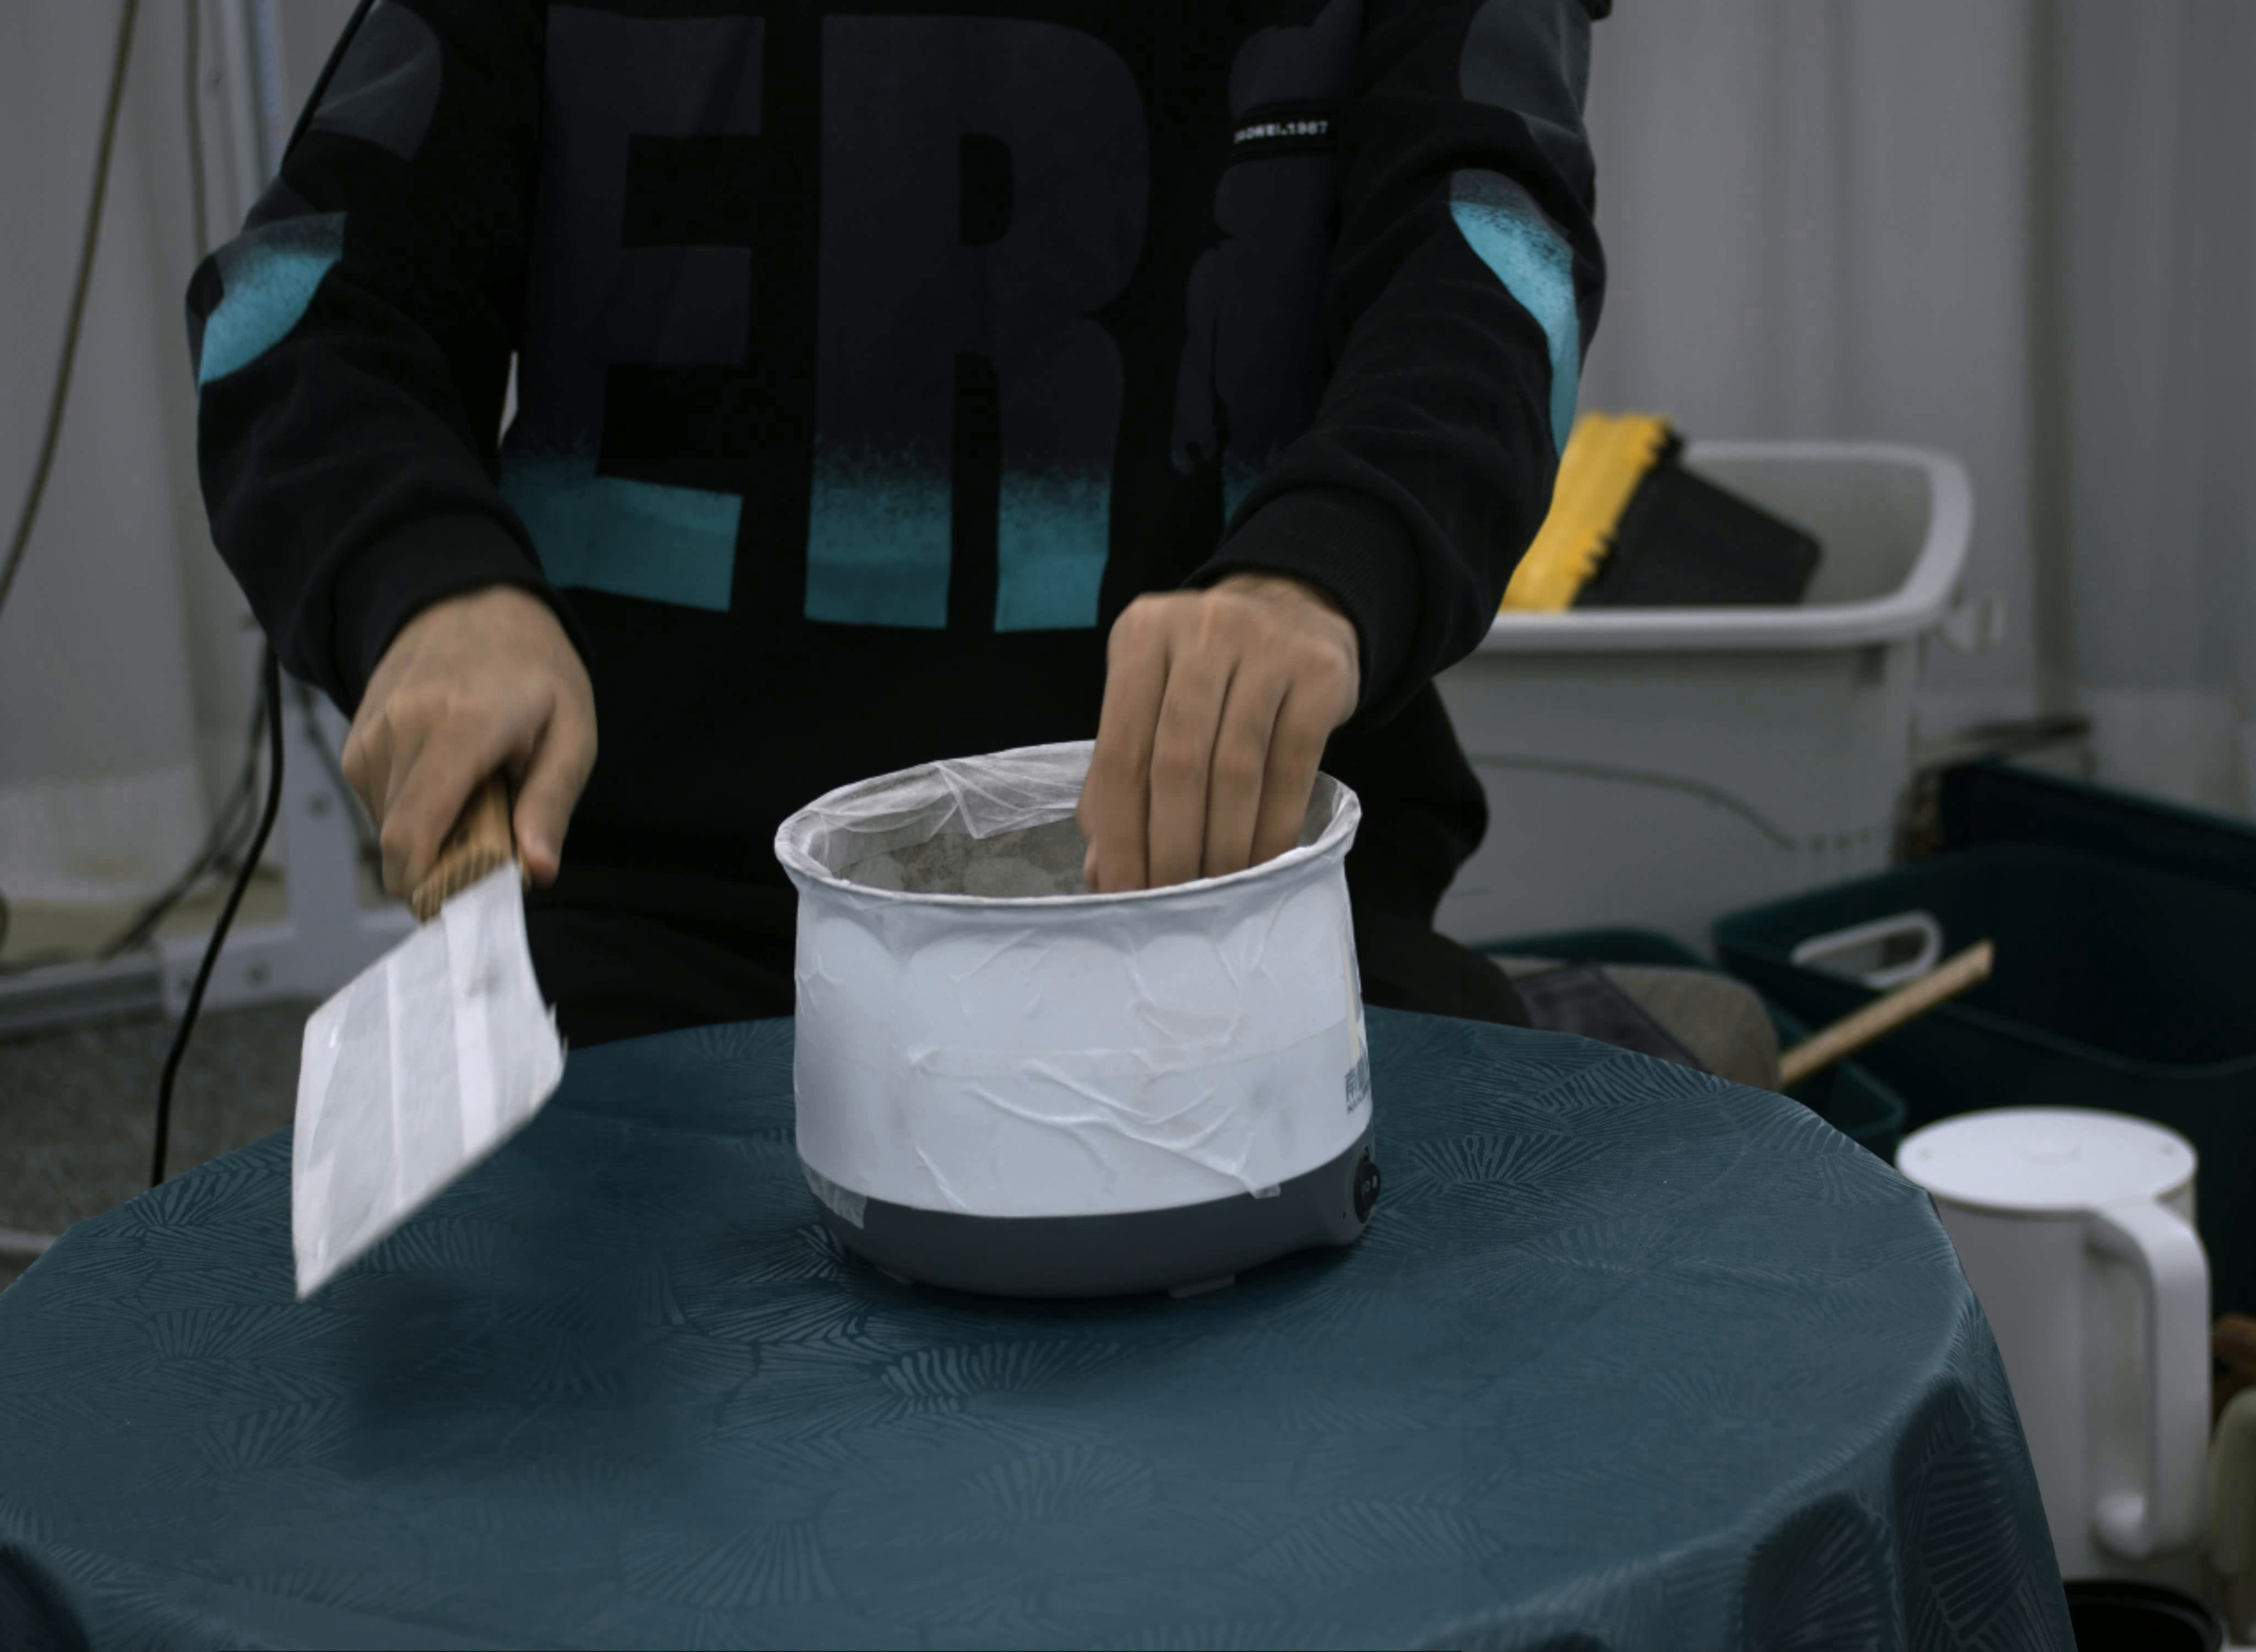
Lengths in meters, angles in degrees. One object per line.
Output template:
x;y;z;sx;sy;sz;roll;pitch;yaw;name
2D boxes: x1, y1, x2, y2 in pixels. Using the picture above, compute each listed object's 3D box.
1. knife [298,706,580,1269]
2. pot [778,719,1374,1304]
-0.210;0.038;1.669;0.113;0.021;0.319;-37;22;11;knife
-0.008;0.052;1.689;0.178;0.136;0.235;1;16;14;pot
